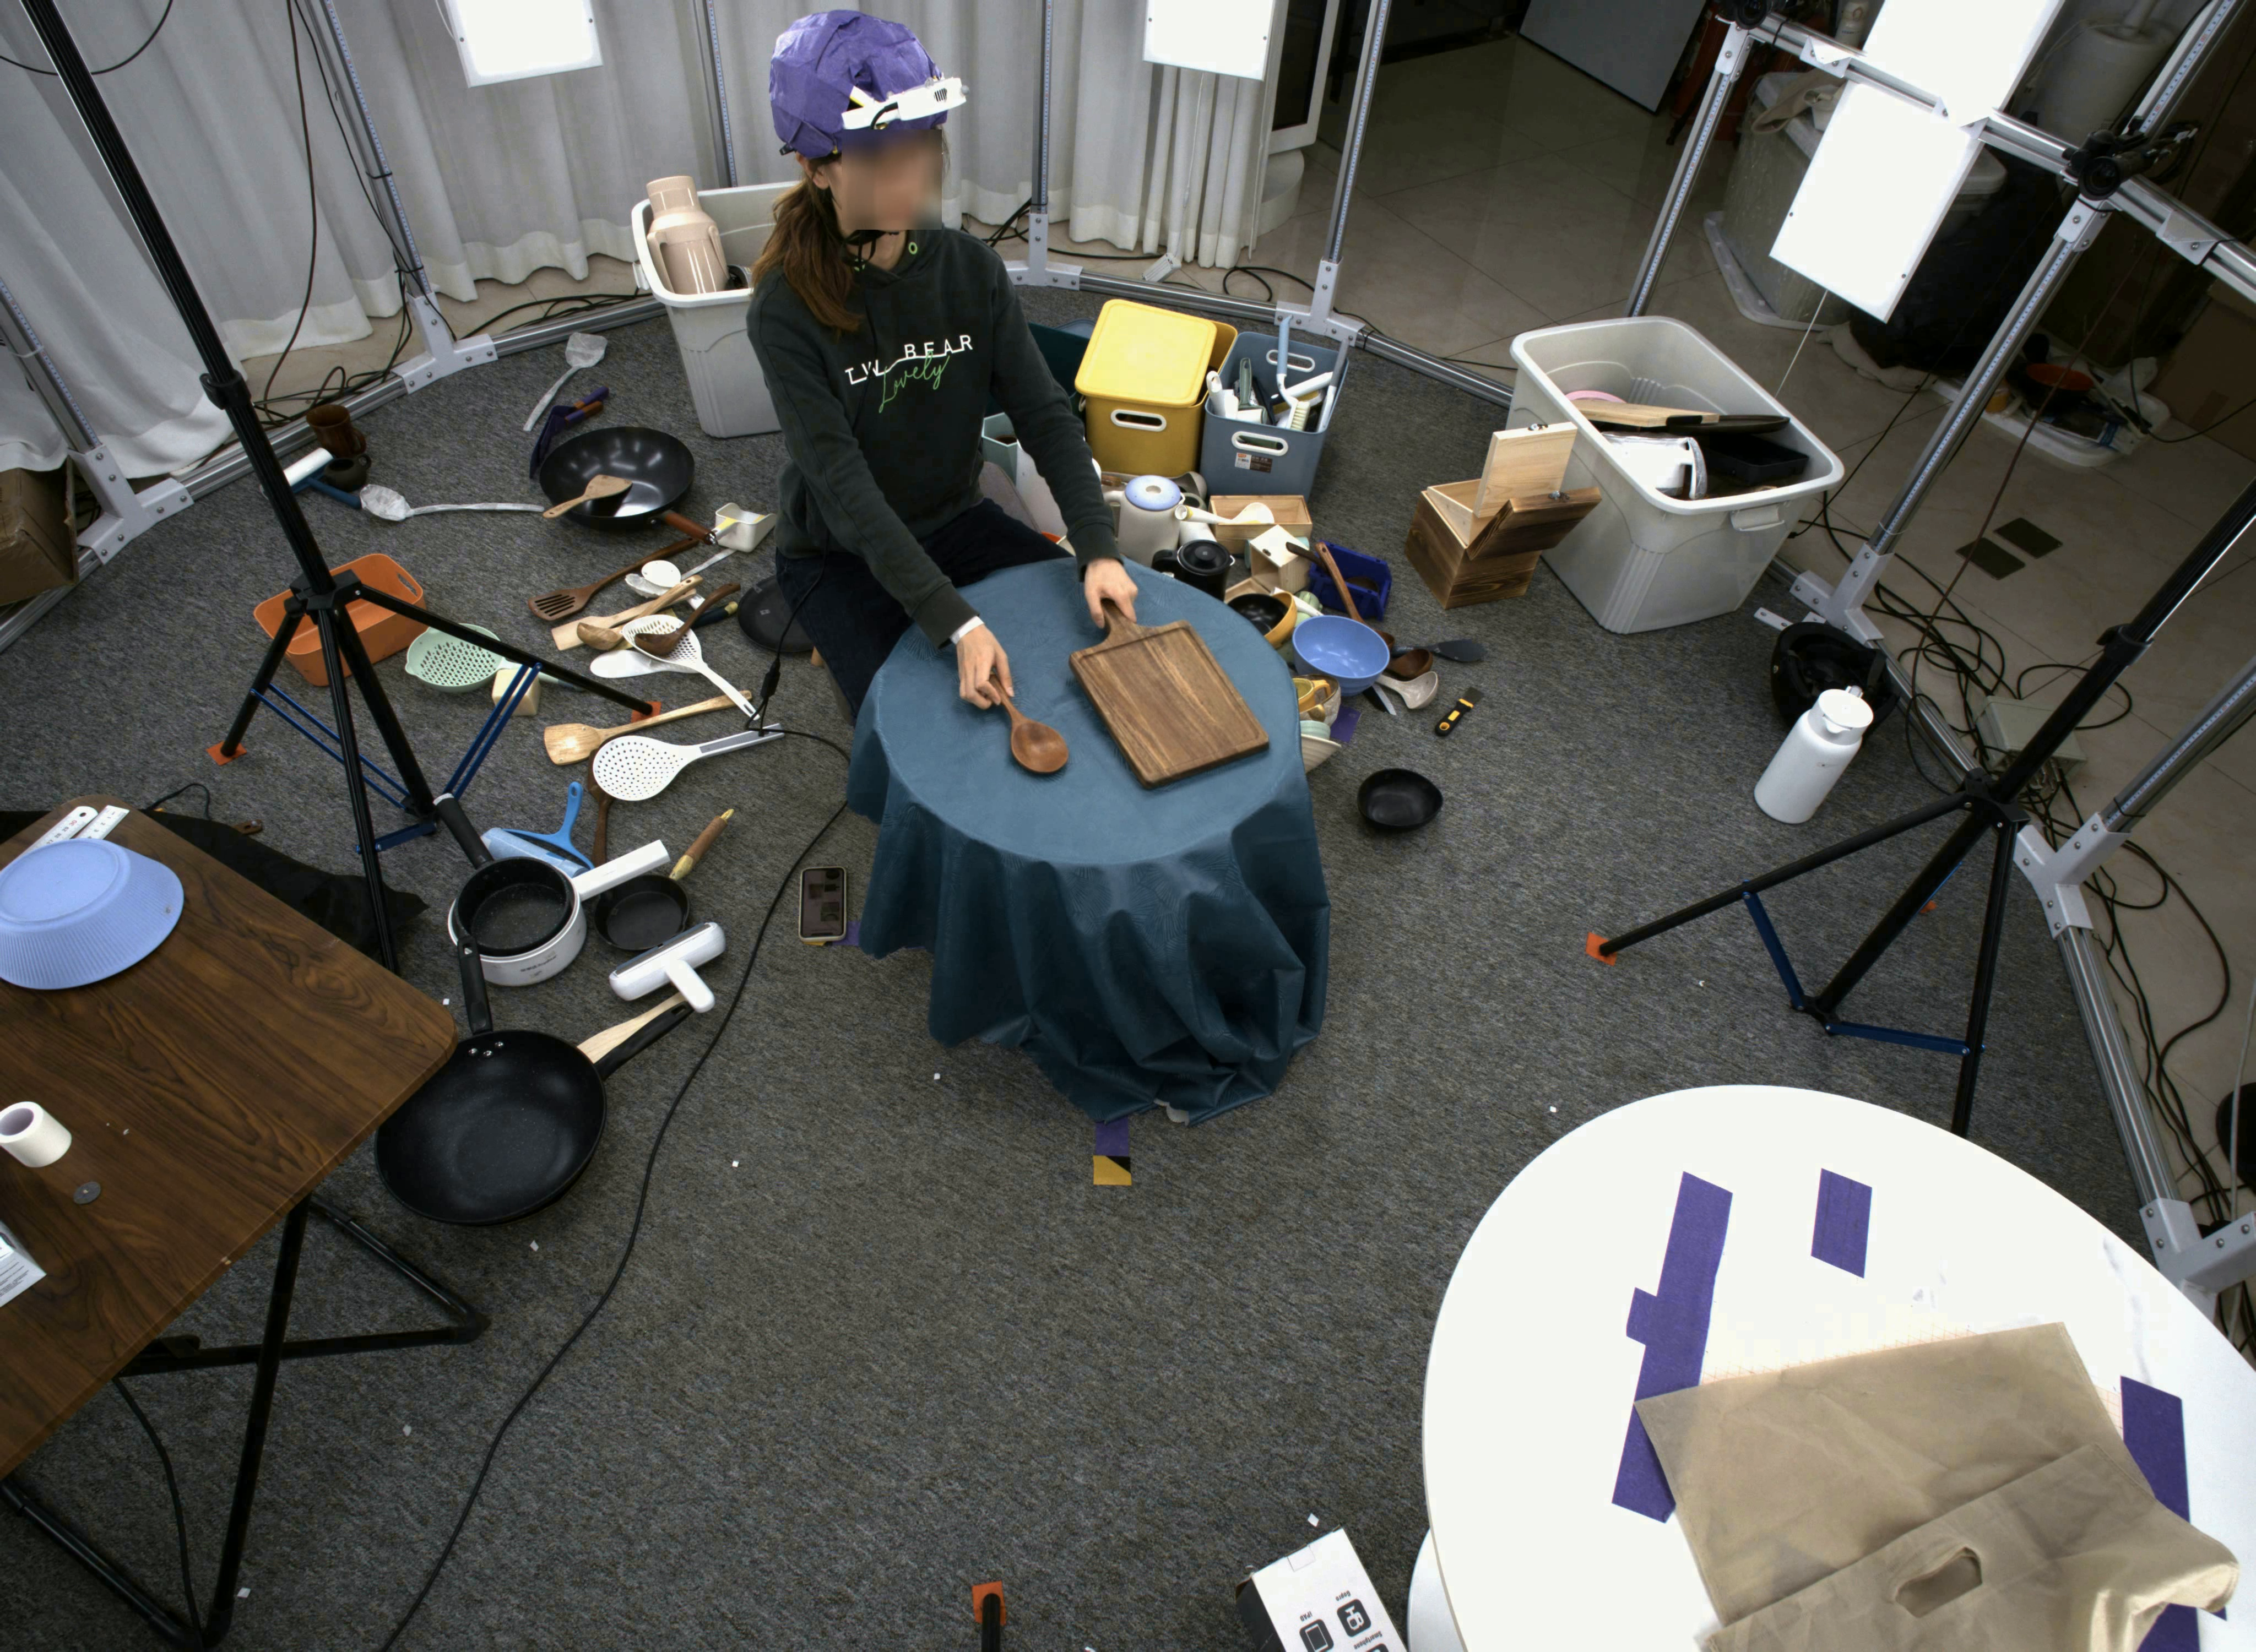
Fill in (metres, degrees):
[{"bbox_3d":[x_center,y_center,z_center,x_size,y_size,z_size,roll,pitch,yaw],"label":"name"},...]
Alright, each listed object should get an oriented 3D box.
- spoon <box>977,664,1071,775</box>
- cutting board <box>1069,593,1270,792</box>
[{"bbox_3d":[-0.151,-0.150,1.784,0.076,0.017,0.220,-24,60,-21],"label":"spoon"},{"bbox_3d":[0.034,-0.212,1.841,0.201,0.022,0.359,-20,58,-19],"label":"cutting board"}]
